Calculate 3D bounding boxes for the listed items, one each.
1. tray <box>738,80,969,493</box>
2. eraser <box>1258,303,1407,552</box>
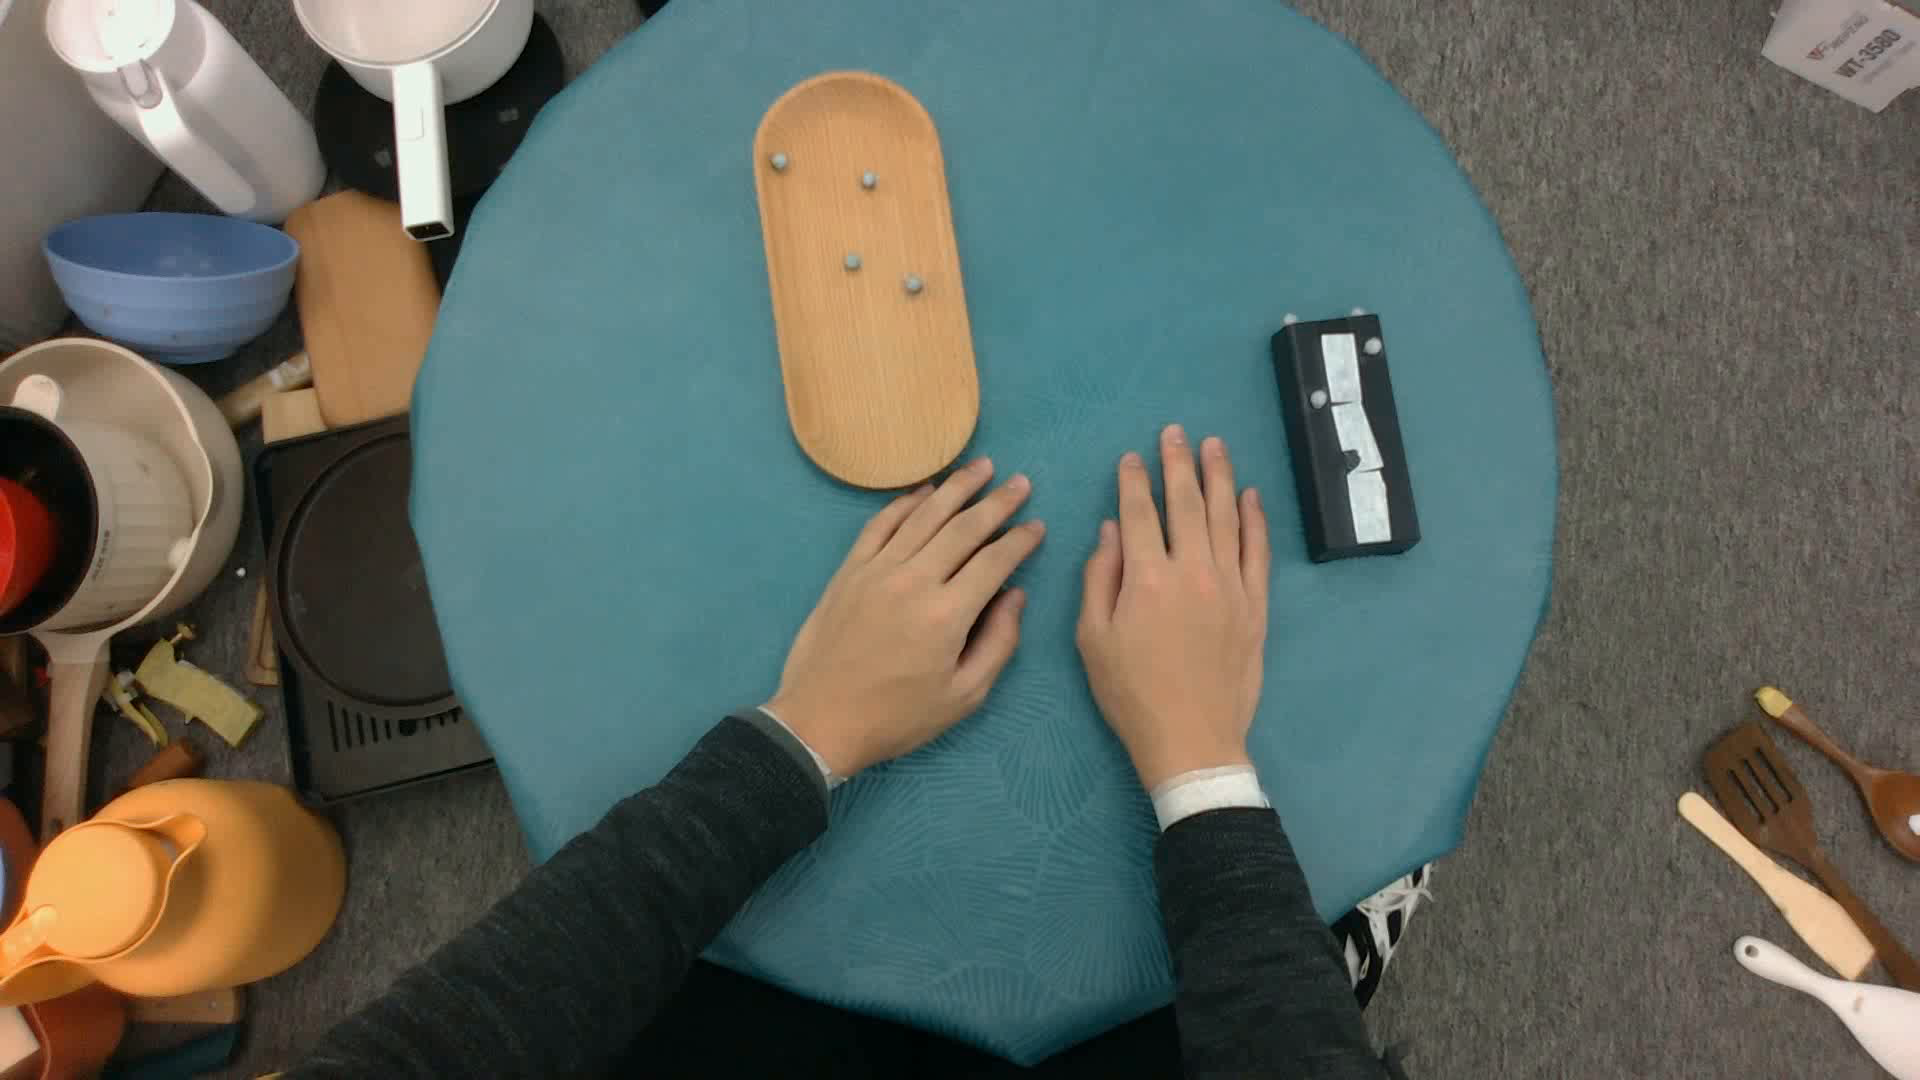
[{"bbox_3d":[-0.057,-0.137,0.731,0.102,0.020,0.231,-10,80,-3],"label":"tray"},{"bbox_3d":[0.193,-0.058,0.721,0.053,0.030,0.125,-8,80,-2],"label":"eraser"}]
